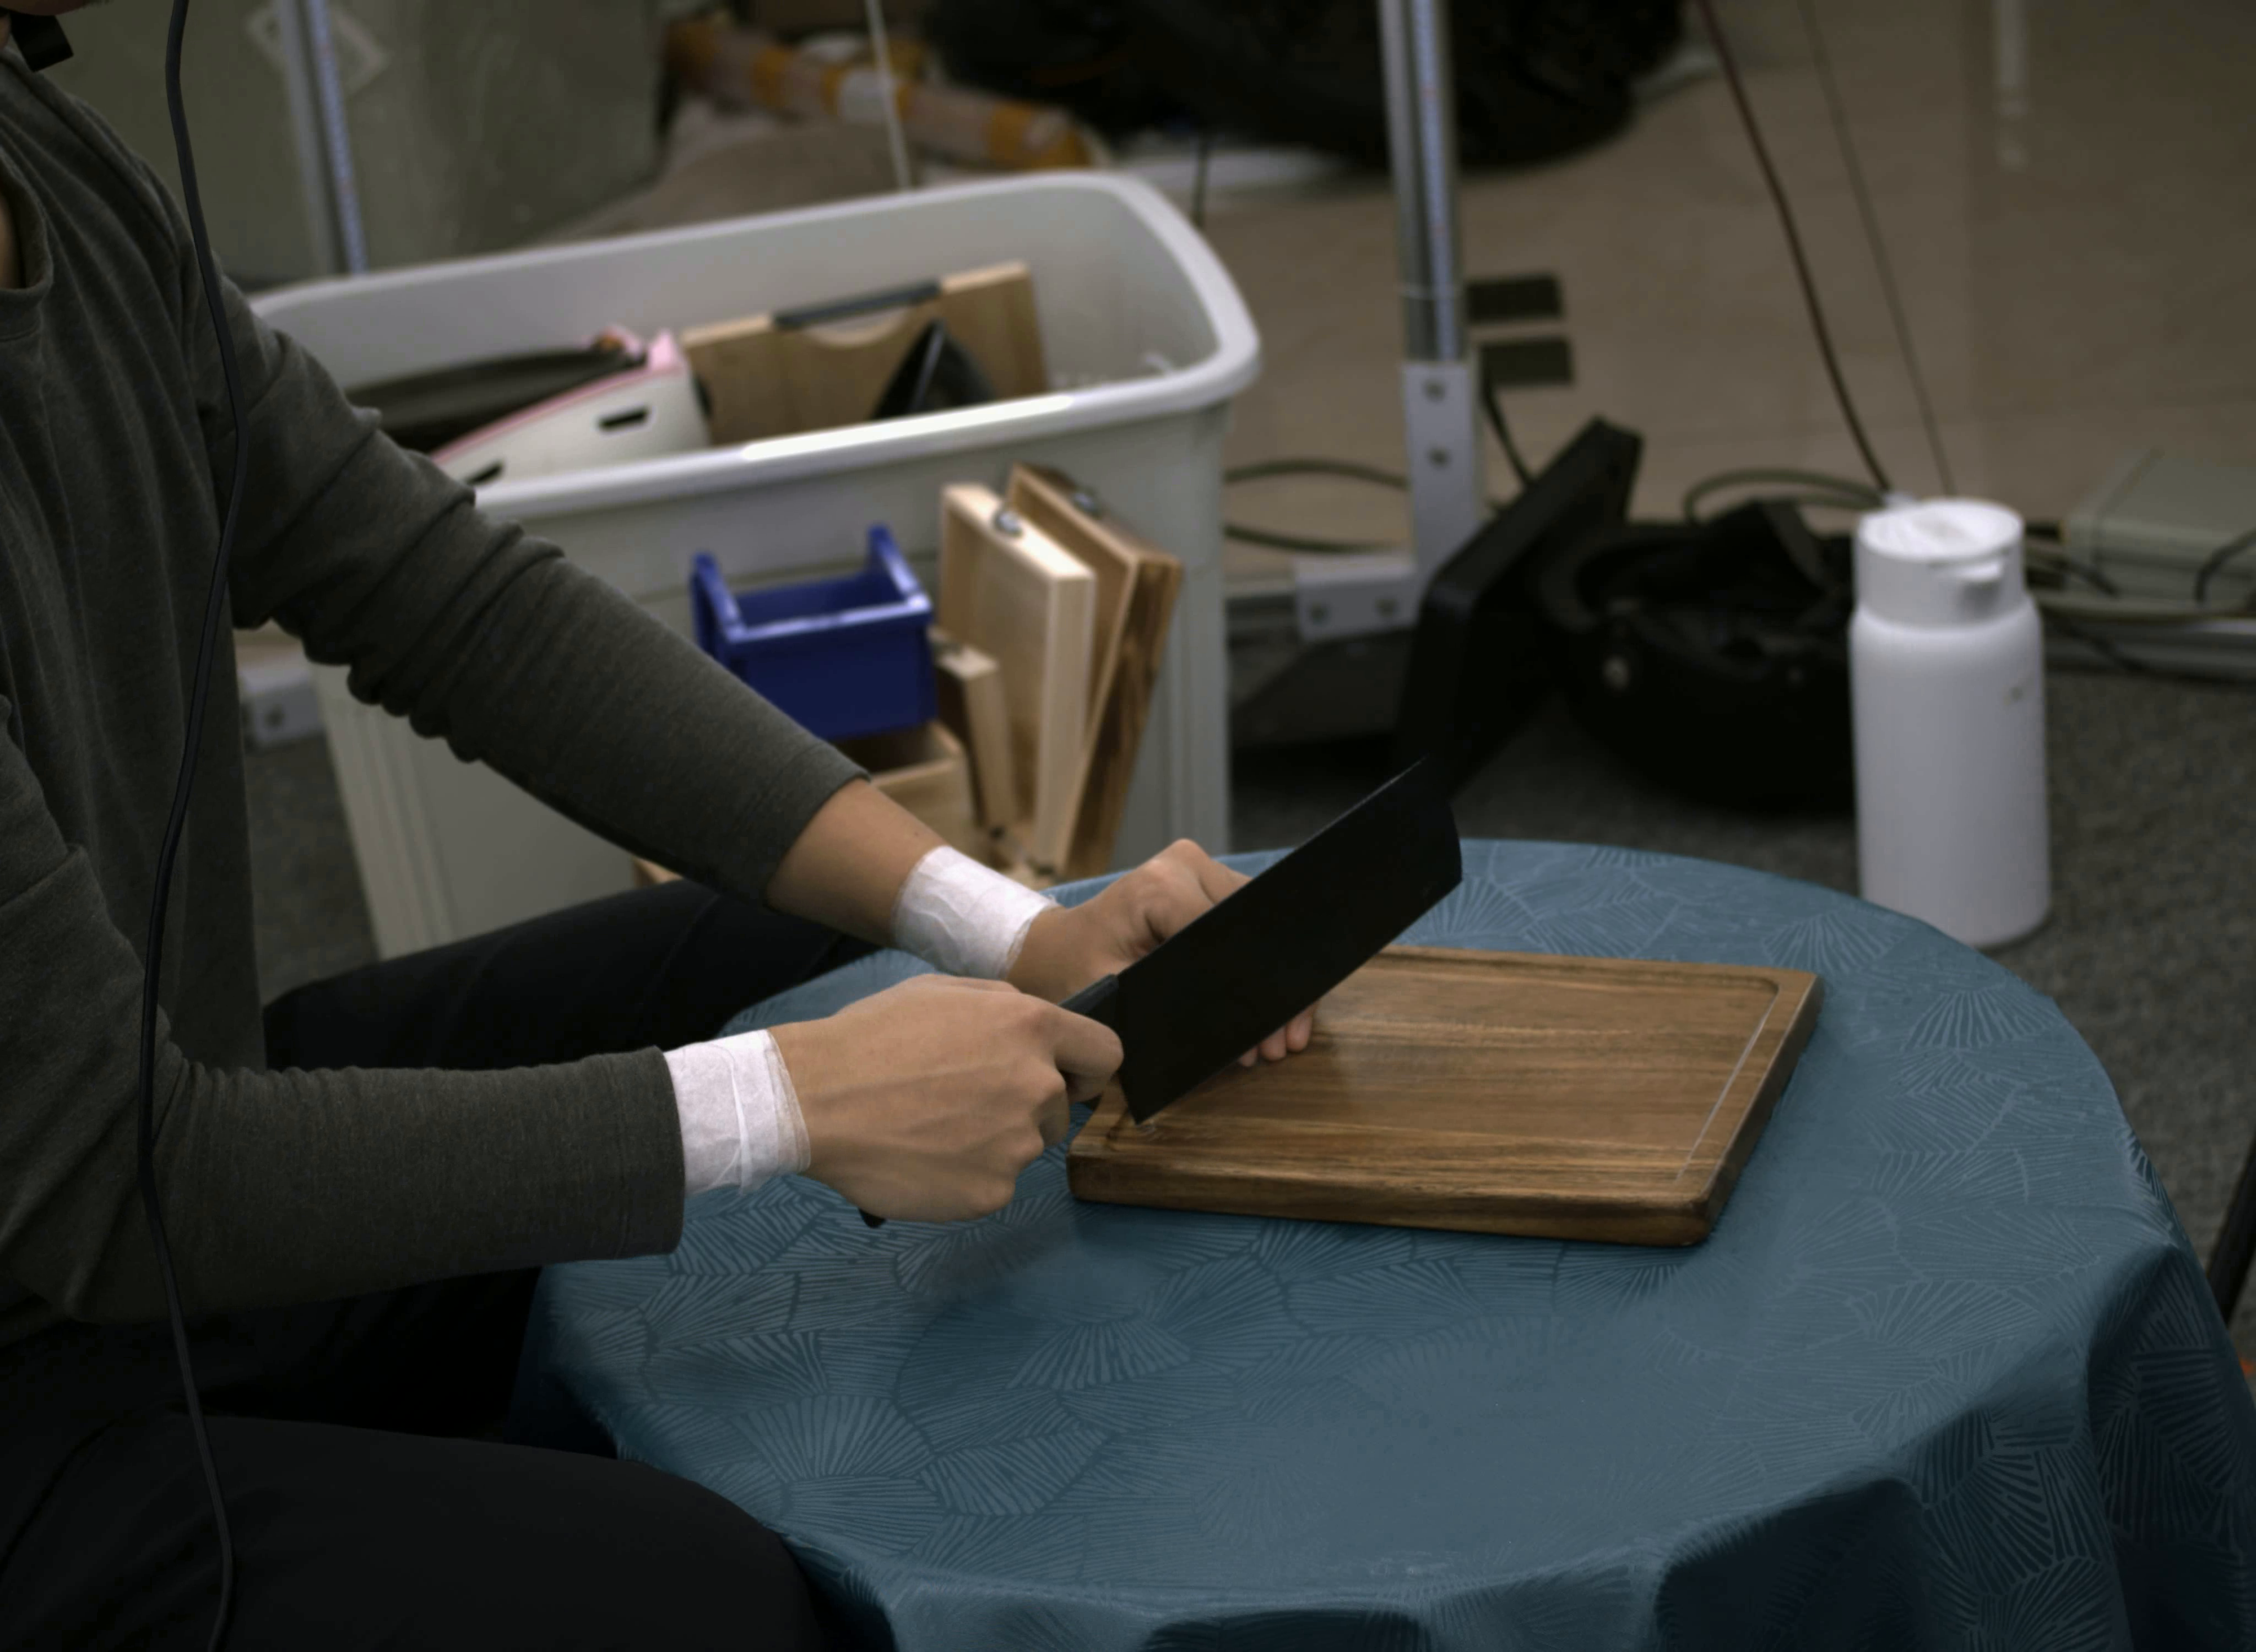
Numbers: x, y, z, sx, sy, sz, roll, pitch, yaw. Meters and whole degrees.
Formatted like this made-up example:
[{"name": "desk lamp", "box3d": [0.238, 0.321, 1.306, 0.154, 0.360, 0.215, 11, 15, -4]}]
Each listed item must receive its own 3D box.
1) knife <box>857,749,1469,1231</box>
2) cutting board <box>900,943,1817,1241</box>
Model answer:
[{"name": "knife", "box3d": [0.017, 0.069, 2.156, 0.300, 0.082, 0.020, -31, 32, -27]}, {"name": "cutting board", "box3d": [0.077, 0.096, 2.200, 0.351, 0.023, 0.198, 3, 26, 20]}]
